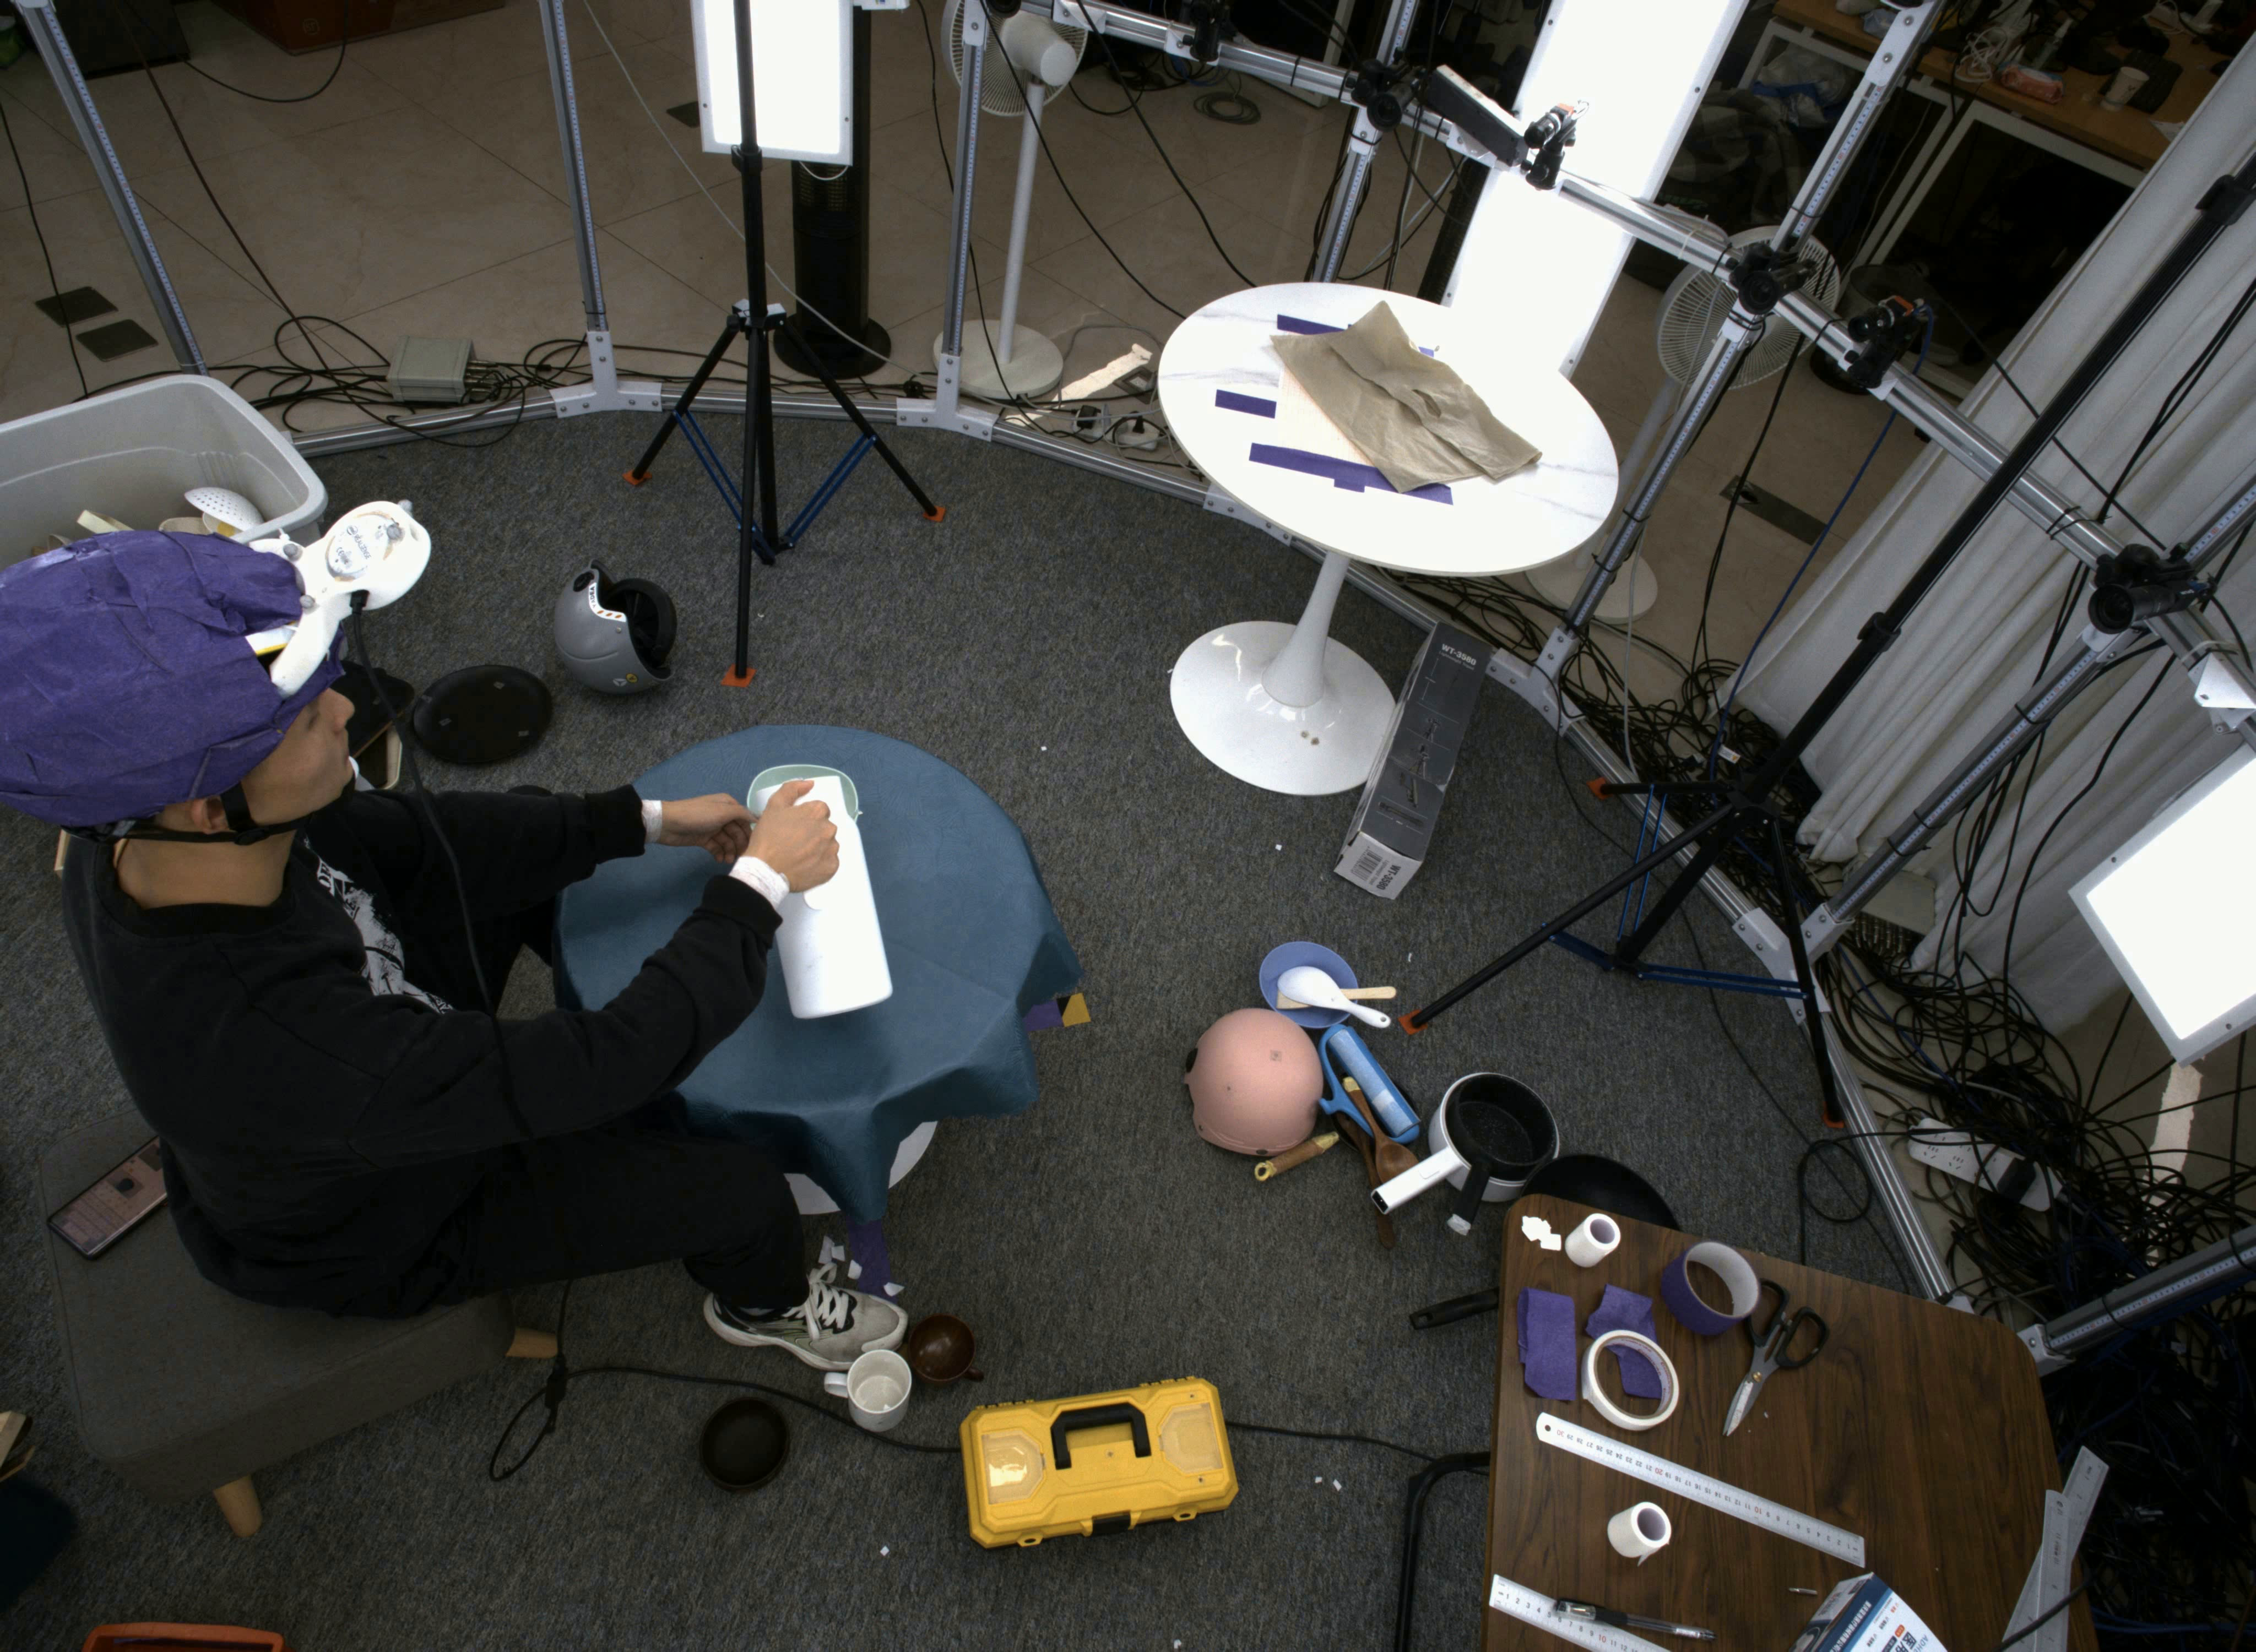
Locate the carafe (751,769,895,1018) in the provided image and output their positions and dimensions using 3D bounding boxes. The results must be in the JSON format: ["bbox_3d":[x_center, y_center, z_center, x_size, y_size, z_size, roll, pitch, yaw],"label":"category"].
[{"bbox_3d":[-0.348,0.074,1.471,0.124,0.171,0.272,-11,91,-14],"label":"carafe"}]

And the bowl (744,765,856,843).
[{"bbox_3d":[-0.417,-0.008,1.652,0.151,0.060,0.148,9,48,-8],"label":"bowl"}]
